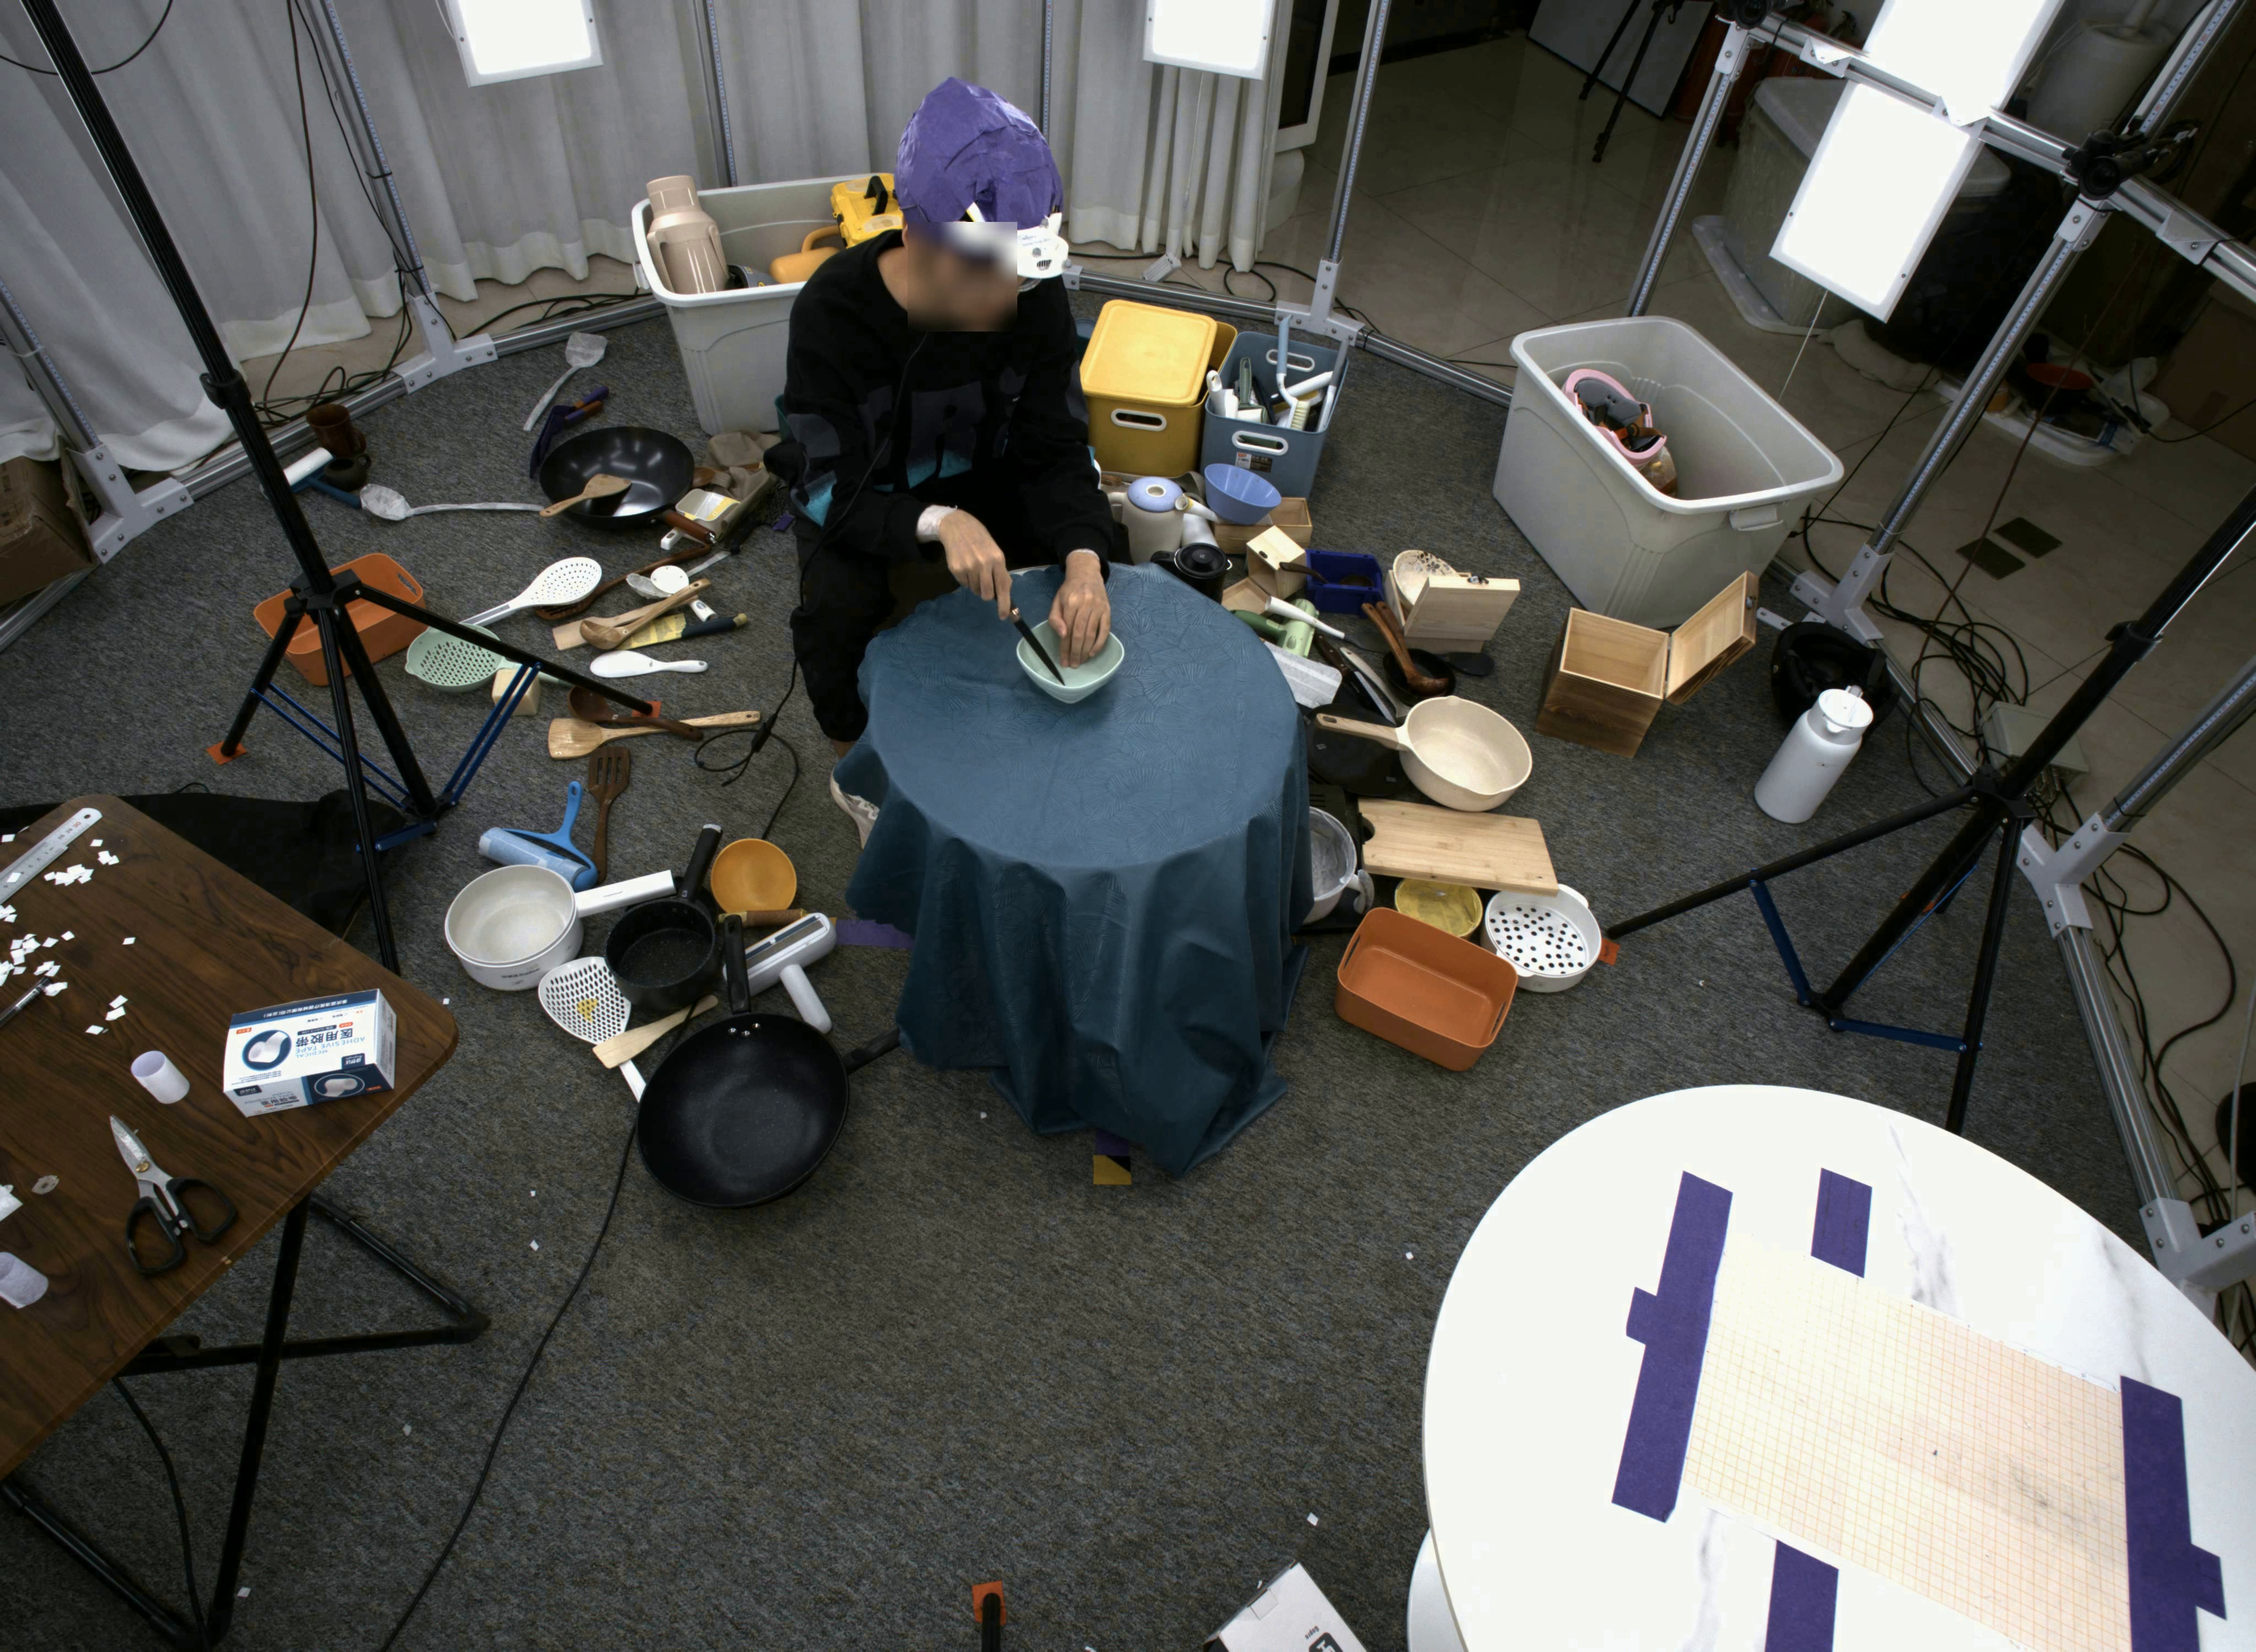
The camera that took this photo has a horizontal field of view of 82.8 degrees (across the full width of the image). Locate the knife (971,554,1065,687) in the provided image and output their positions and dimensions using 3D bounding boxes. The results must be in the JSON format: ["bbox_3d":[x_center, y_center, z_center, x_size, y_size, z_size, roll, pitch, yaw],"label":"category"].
[{"bbox_3d":[-0.149,-0.284,1.803,0.223,0.026,0.017,54,44,-14],"label":"knife"}]

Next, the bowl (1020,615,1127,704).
[{"bbox_3d":[-0.078,-0.228,1.826,0.151,0.057,0.155,1,50,-2],"label":"bowl"}]
